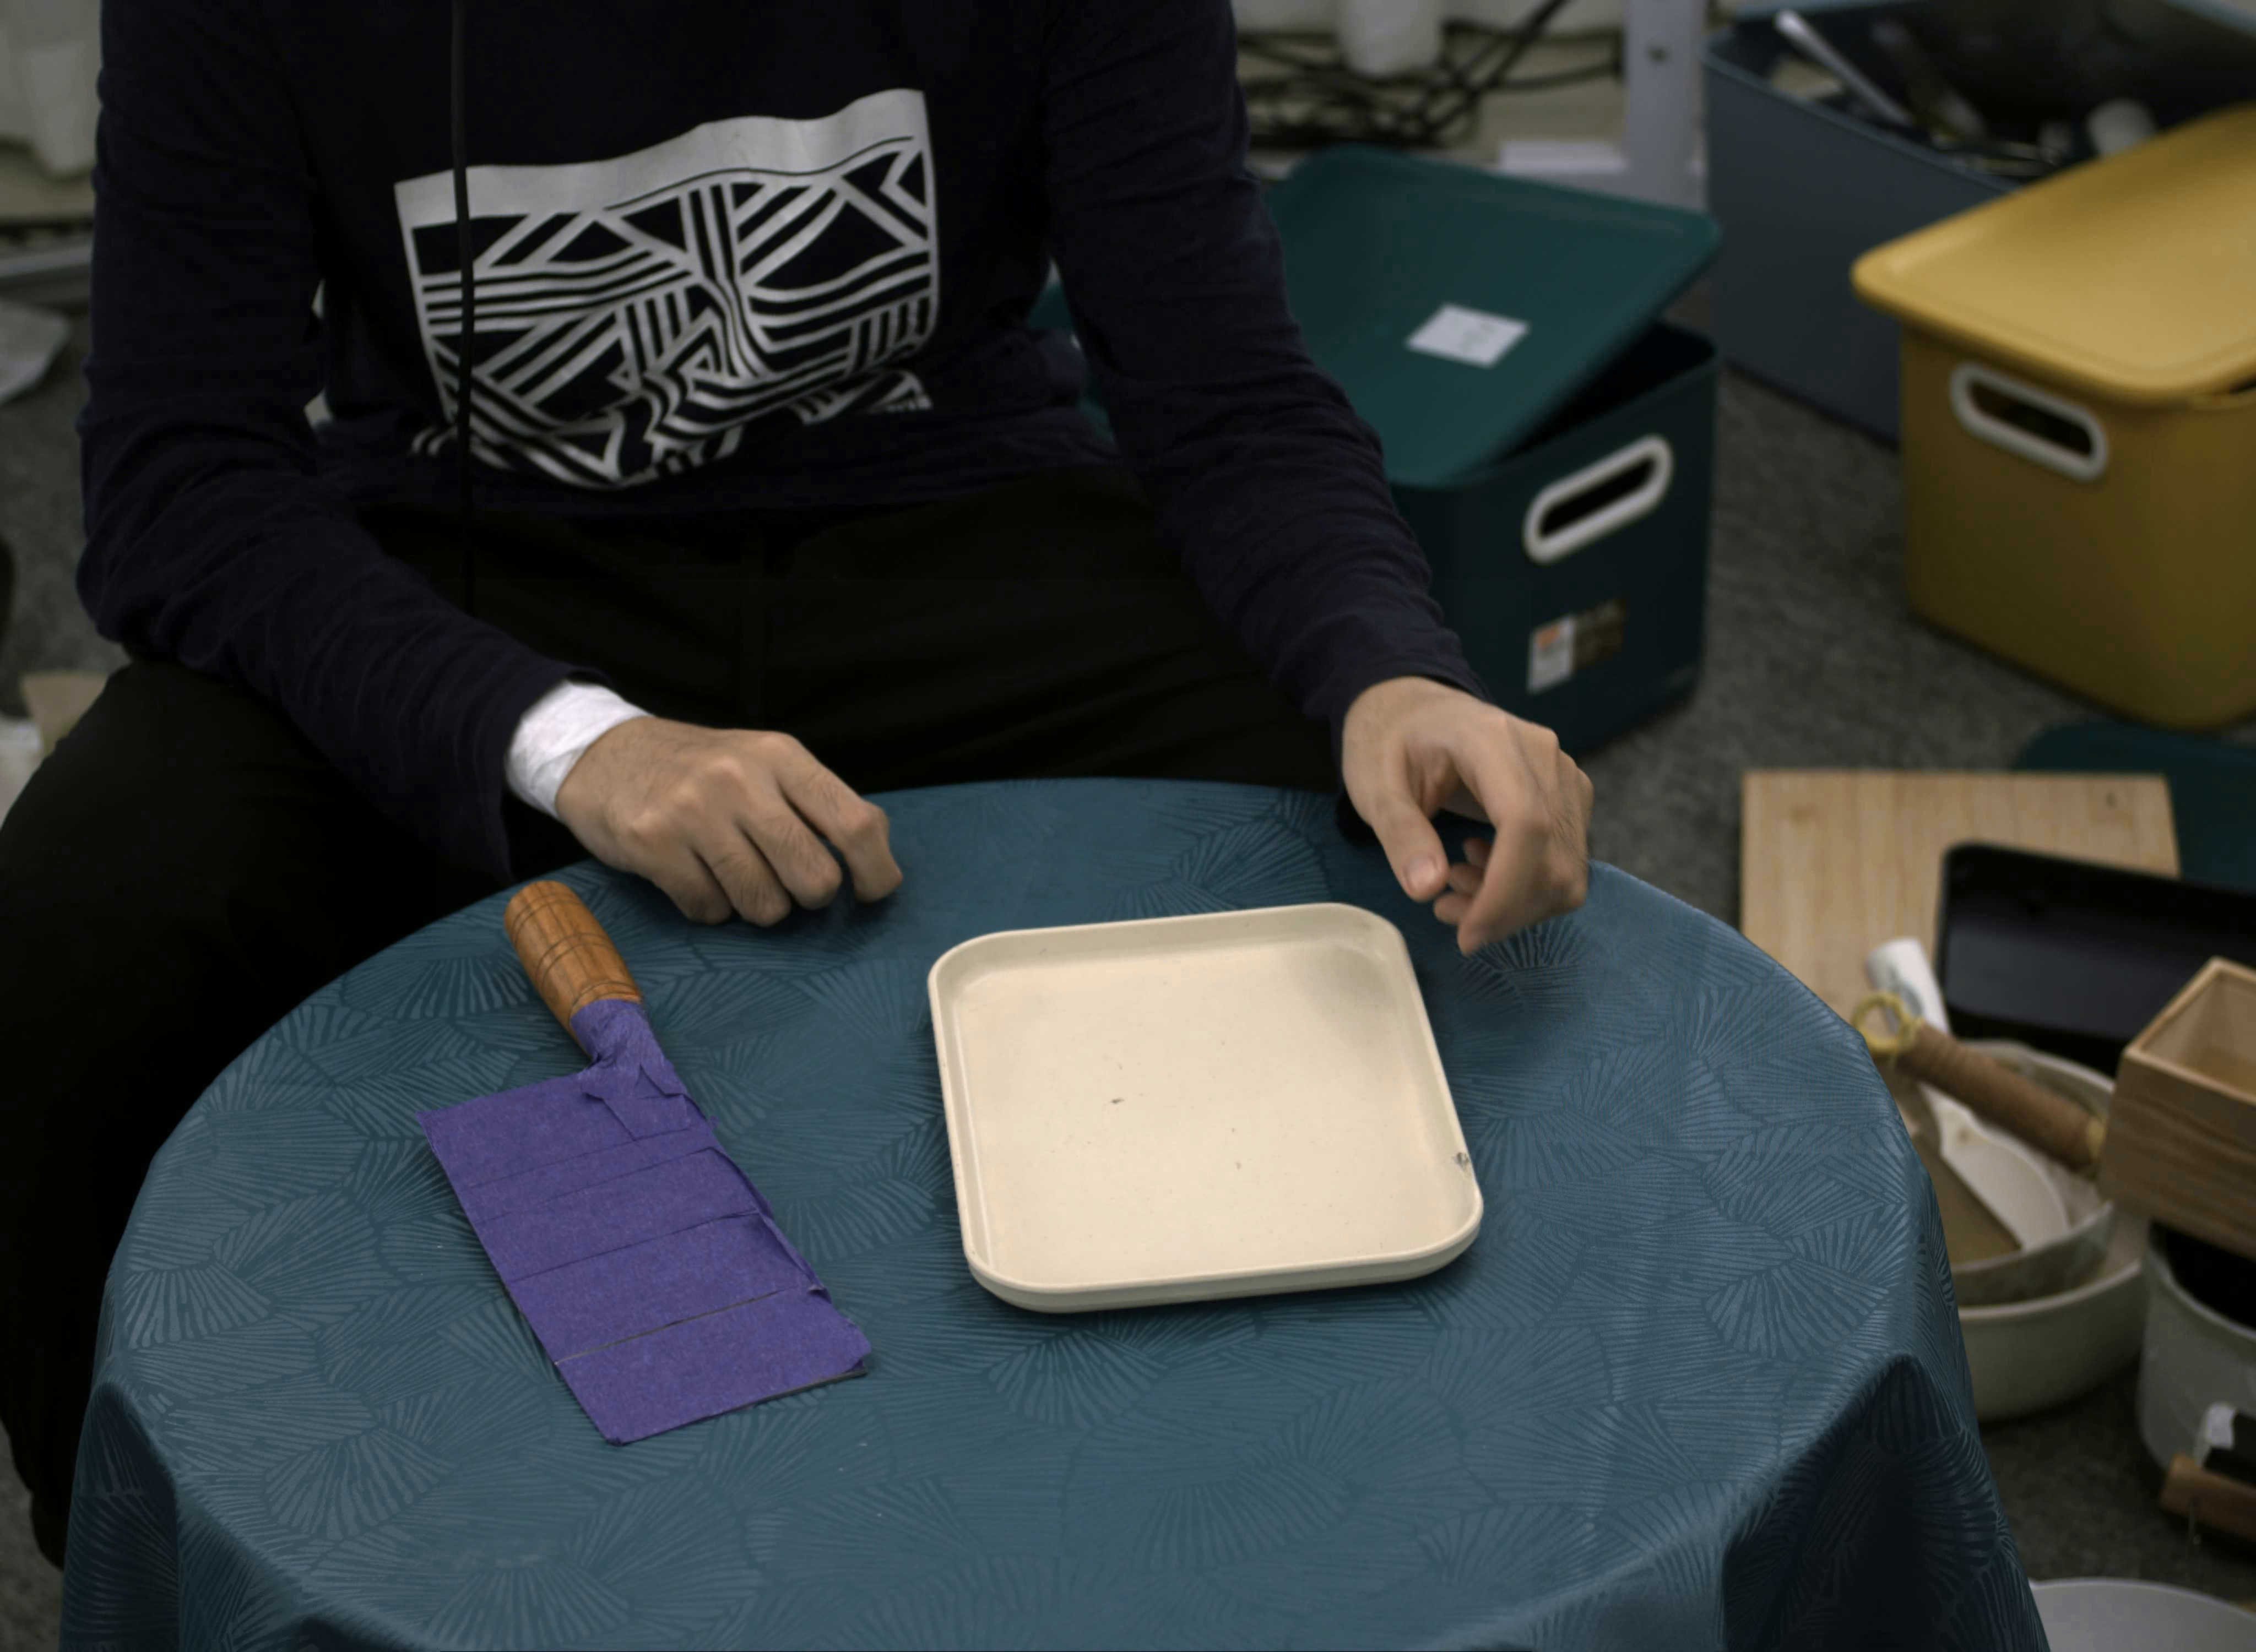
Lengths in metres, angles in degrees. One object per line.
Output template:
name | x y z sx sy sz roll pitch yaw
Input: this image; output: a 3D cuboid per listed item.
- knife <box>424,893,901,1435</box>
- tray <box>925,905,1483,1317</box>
knife | -0.180 0.108 1.875 0.104 0.032 0.317 -13 29 -20
tray | 0.022 0.095 1.892 0.171 0.017 0.243 -5 27 -4
